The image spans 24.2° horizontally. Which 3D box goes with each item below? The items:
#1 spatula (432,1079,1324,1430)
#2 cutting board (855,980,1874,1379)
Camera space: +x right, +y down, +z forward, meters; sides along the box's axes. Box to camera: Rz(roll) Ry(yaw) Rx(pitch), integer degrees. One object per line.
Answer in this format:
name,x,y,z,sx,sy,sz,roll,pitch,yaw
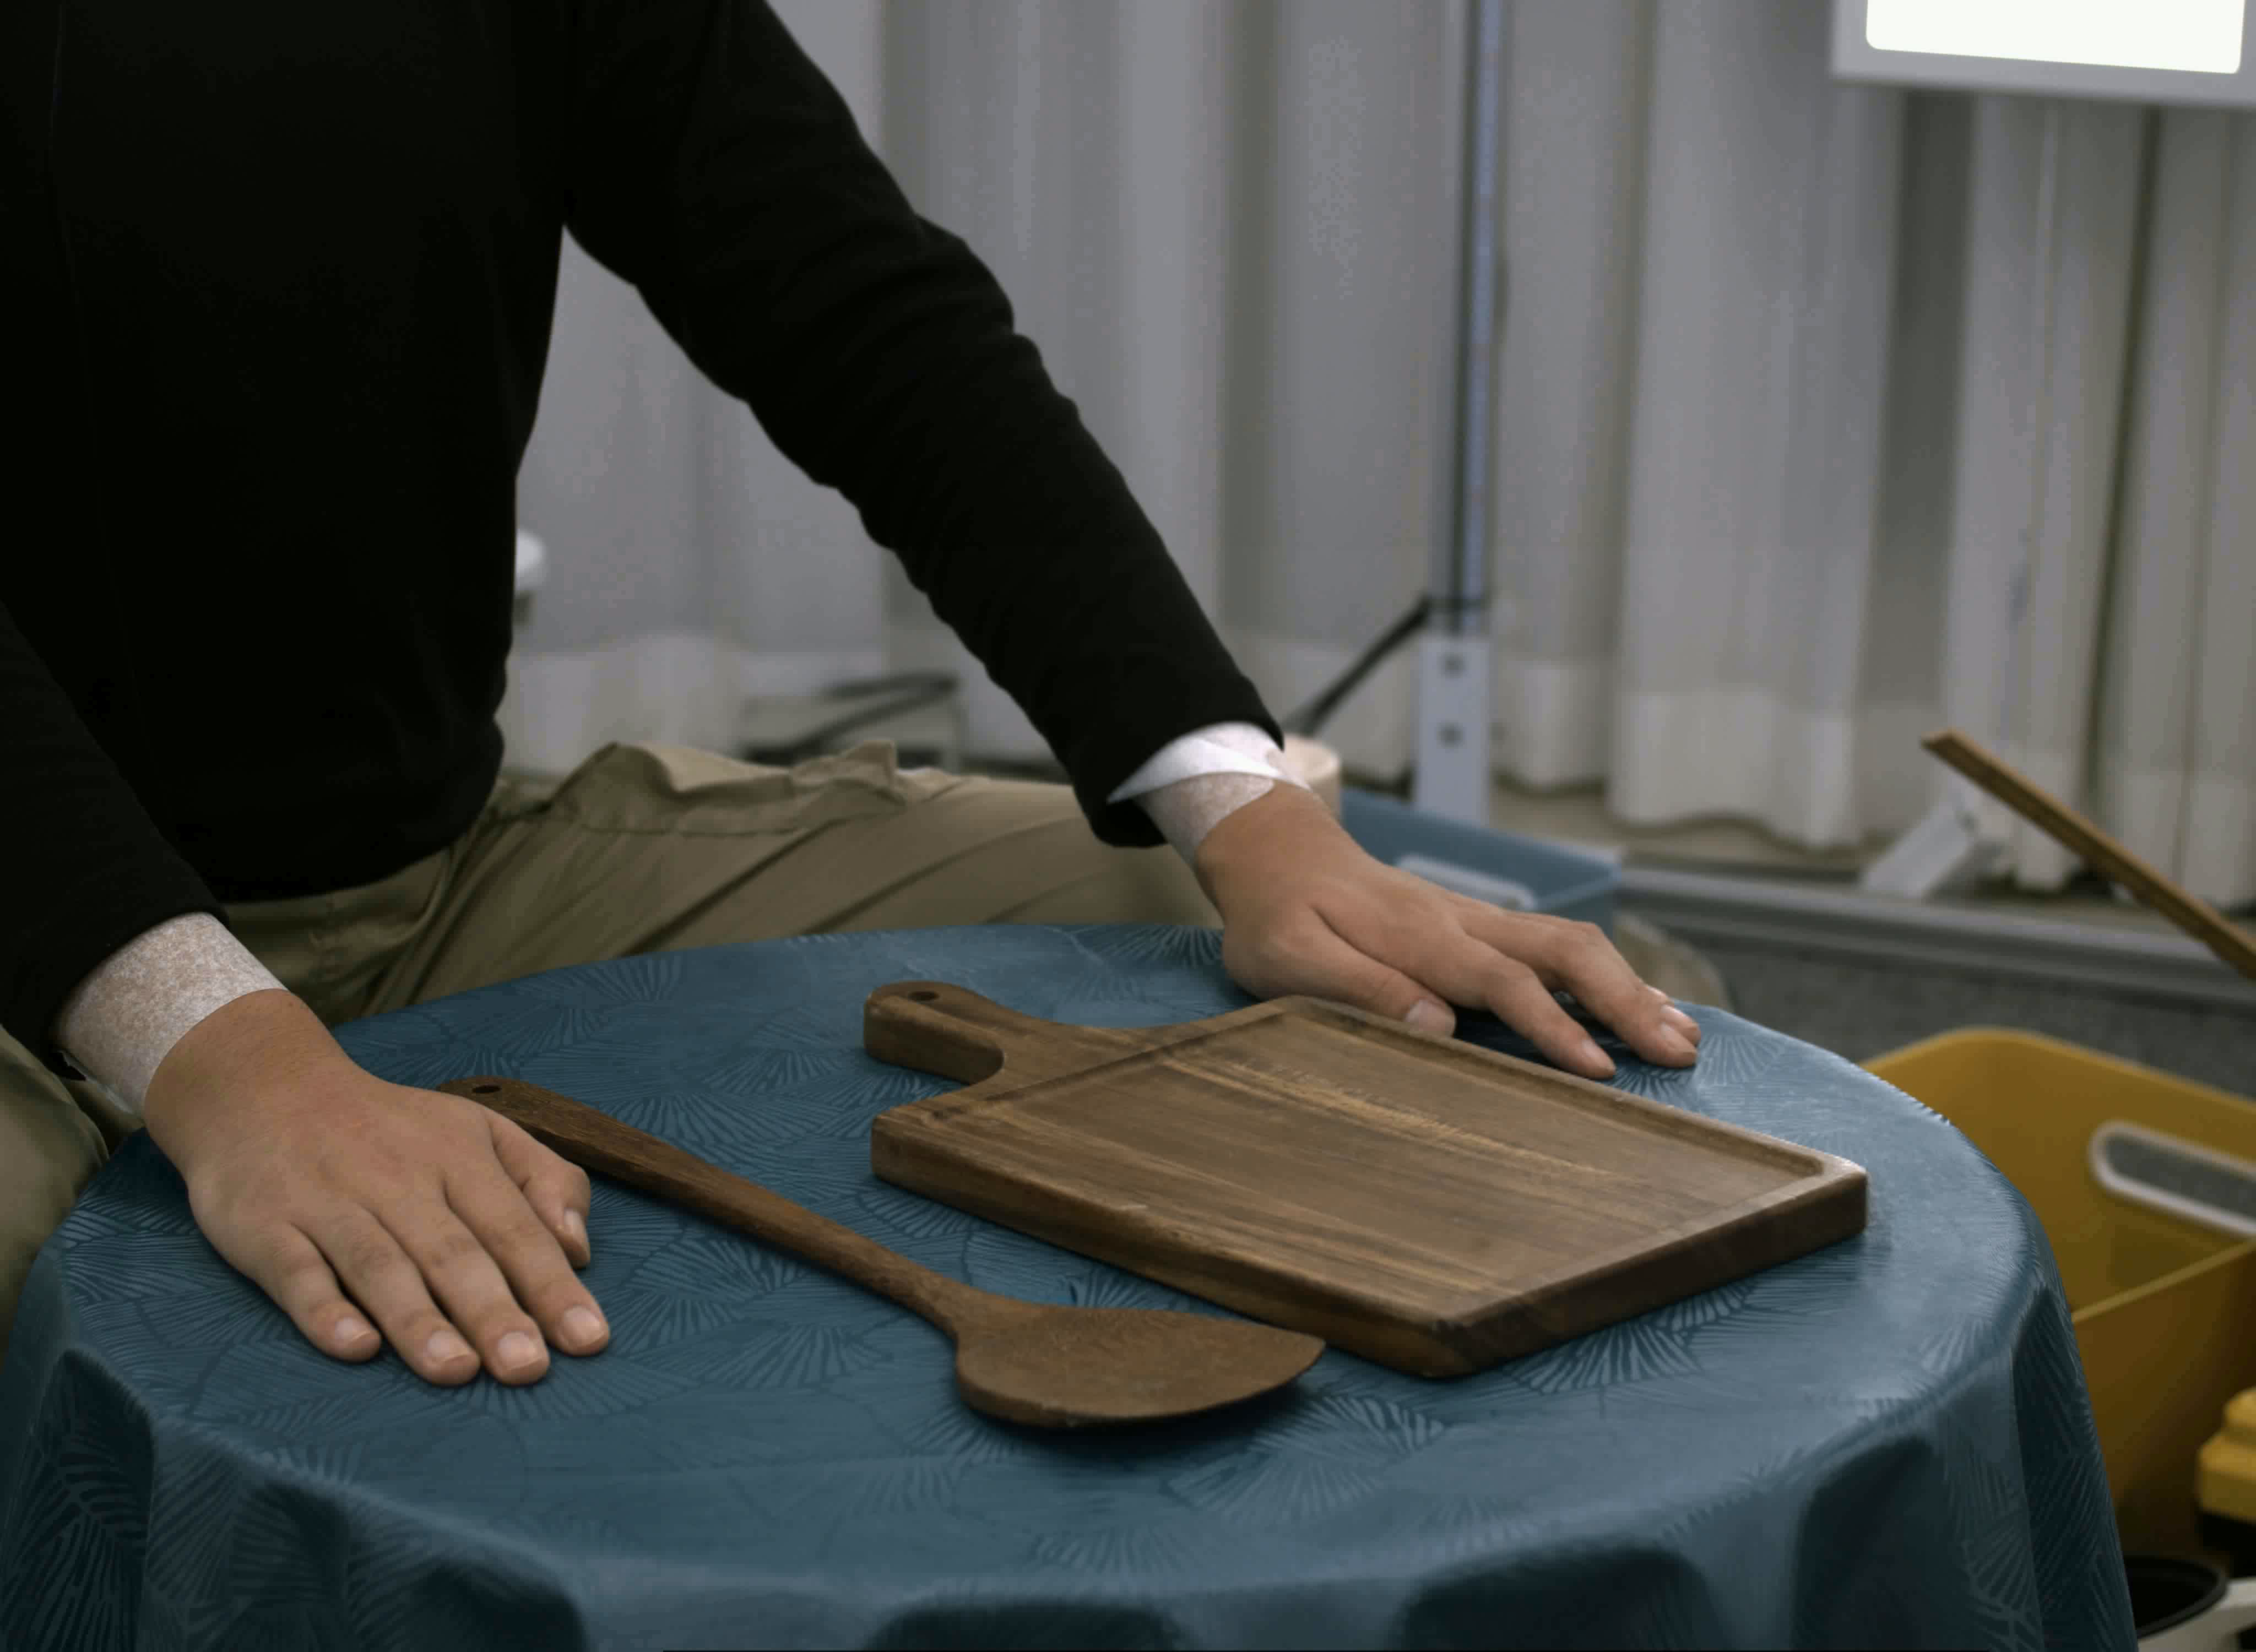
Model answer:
spatula,-0.096,0.121,1.559,0.096,0.016,0.381,-12,19,-40
cutting board,0.039,0.096,1.644,0.202,0.023,0.347,-14,21,-43
